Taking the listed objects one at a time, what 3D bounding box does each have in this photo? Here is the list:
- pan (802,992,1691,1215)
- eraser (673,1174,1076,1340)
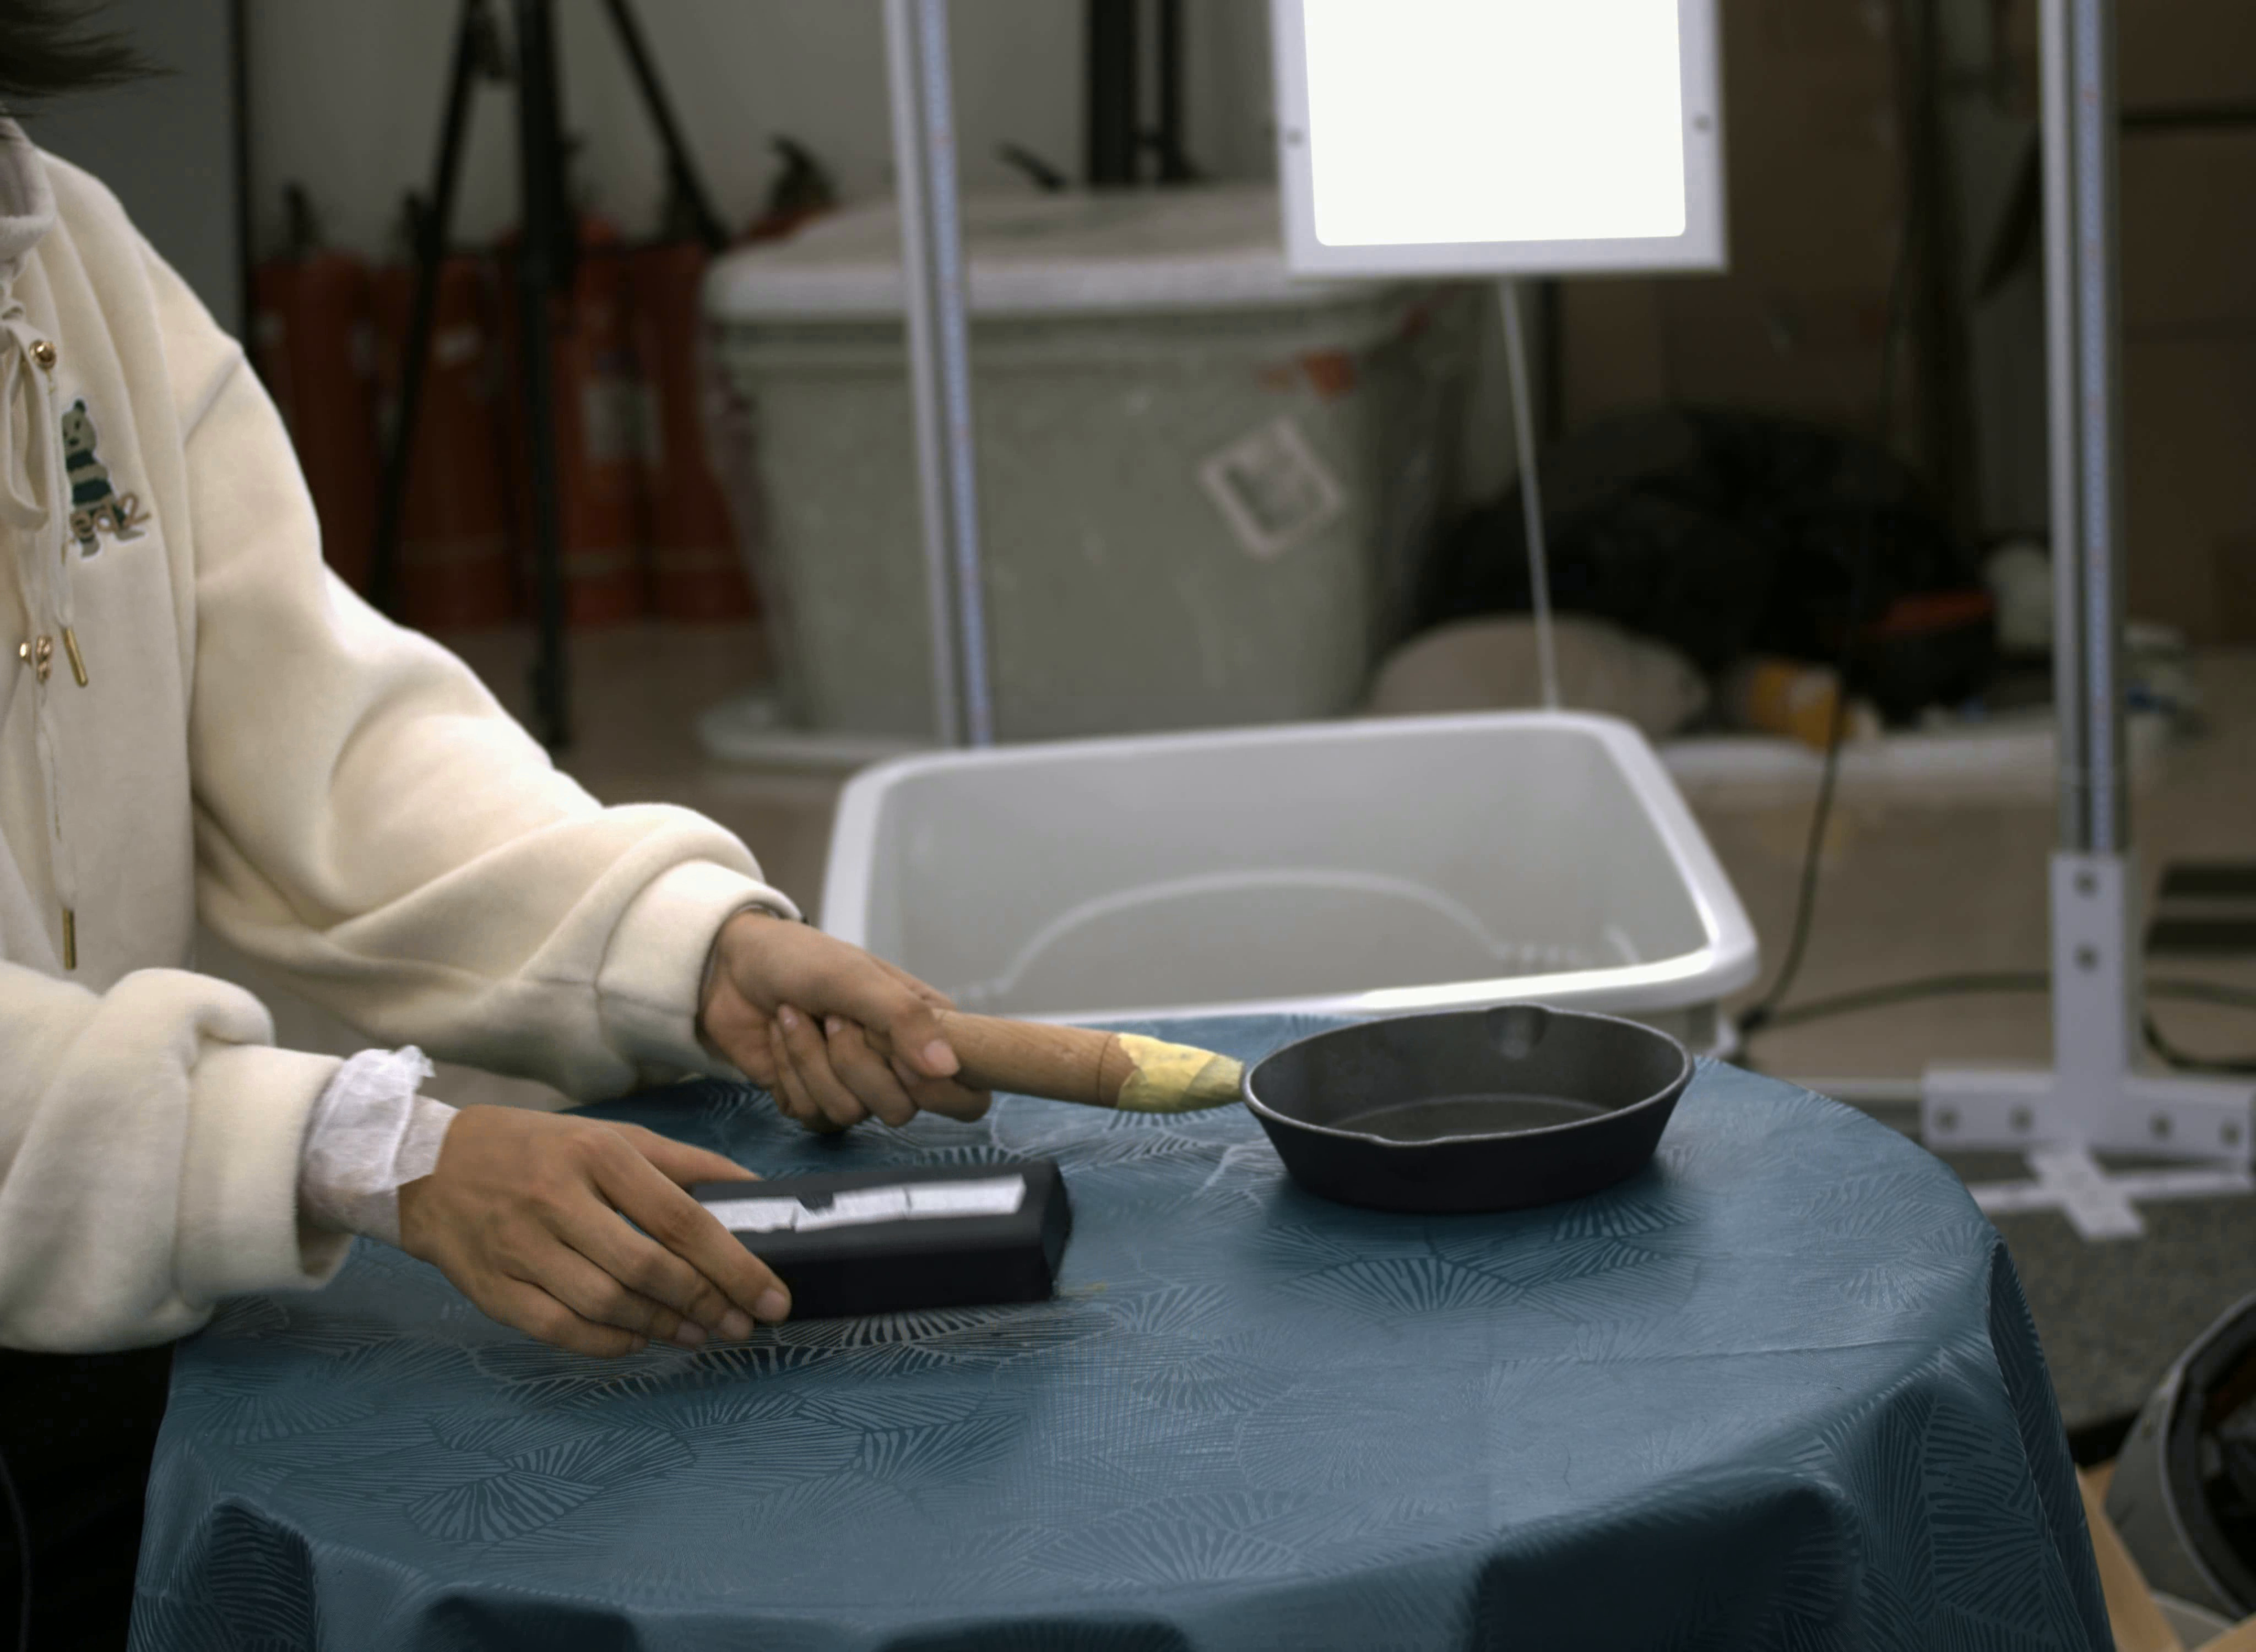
[{"bbox_3d":[0.038,0.090,1.926,0.329,0.050,0.166,1,16,22],"label":"pan"},{"bbox_3d":[-0.079,0.137,1.765,0.126,0.030,0.053,-4,27,13],"label":"eraser"}]
